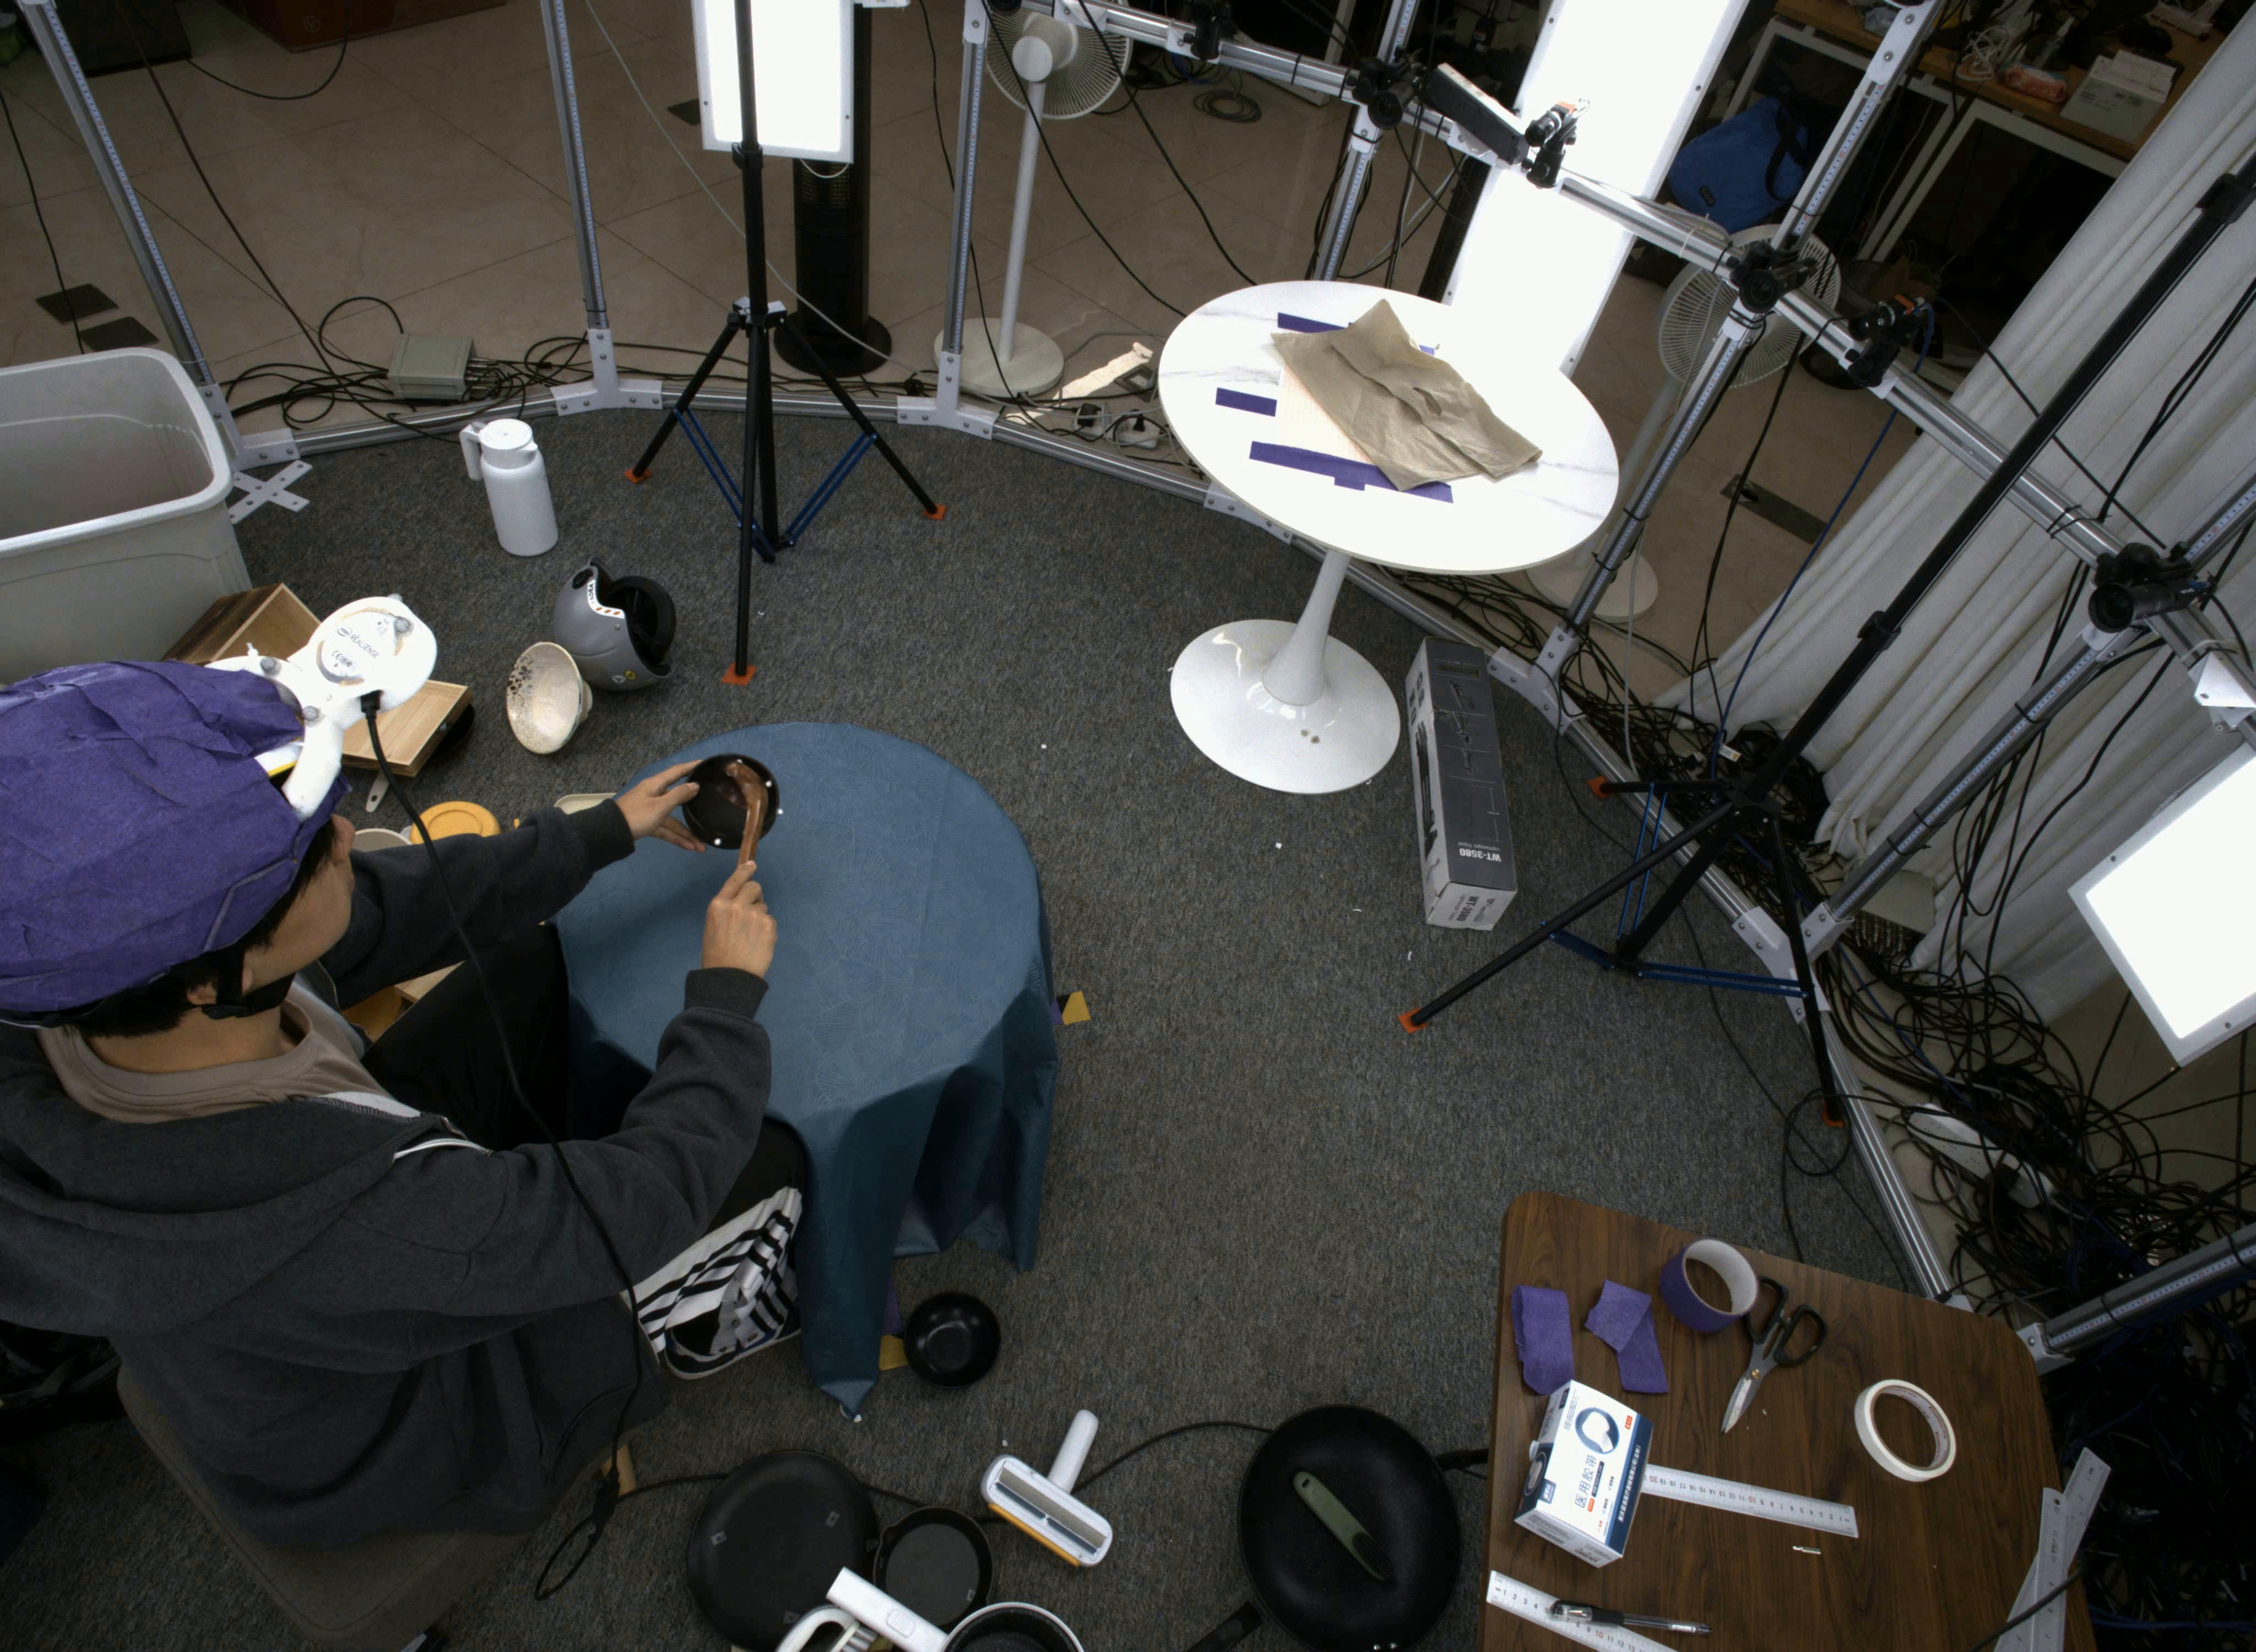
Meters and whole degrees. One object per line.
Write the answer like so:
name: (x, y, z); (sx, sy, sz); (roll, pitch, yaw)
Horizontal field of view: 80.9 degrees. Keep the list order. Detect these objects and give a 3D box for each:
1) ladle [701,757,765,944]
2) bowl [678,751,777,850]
ladle: (-0.452, 0.026, 1.452); (0.075, 0.085, 0.267); (-18, 47, 11)
bowl: (-0.492, -0.026, 1.584); (0.119, 0.070, 0.117); (9, 63, -16)
